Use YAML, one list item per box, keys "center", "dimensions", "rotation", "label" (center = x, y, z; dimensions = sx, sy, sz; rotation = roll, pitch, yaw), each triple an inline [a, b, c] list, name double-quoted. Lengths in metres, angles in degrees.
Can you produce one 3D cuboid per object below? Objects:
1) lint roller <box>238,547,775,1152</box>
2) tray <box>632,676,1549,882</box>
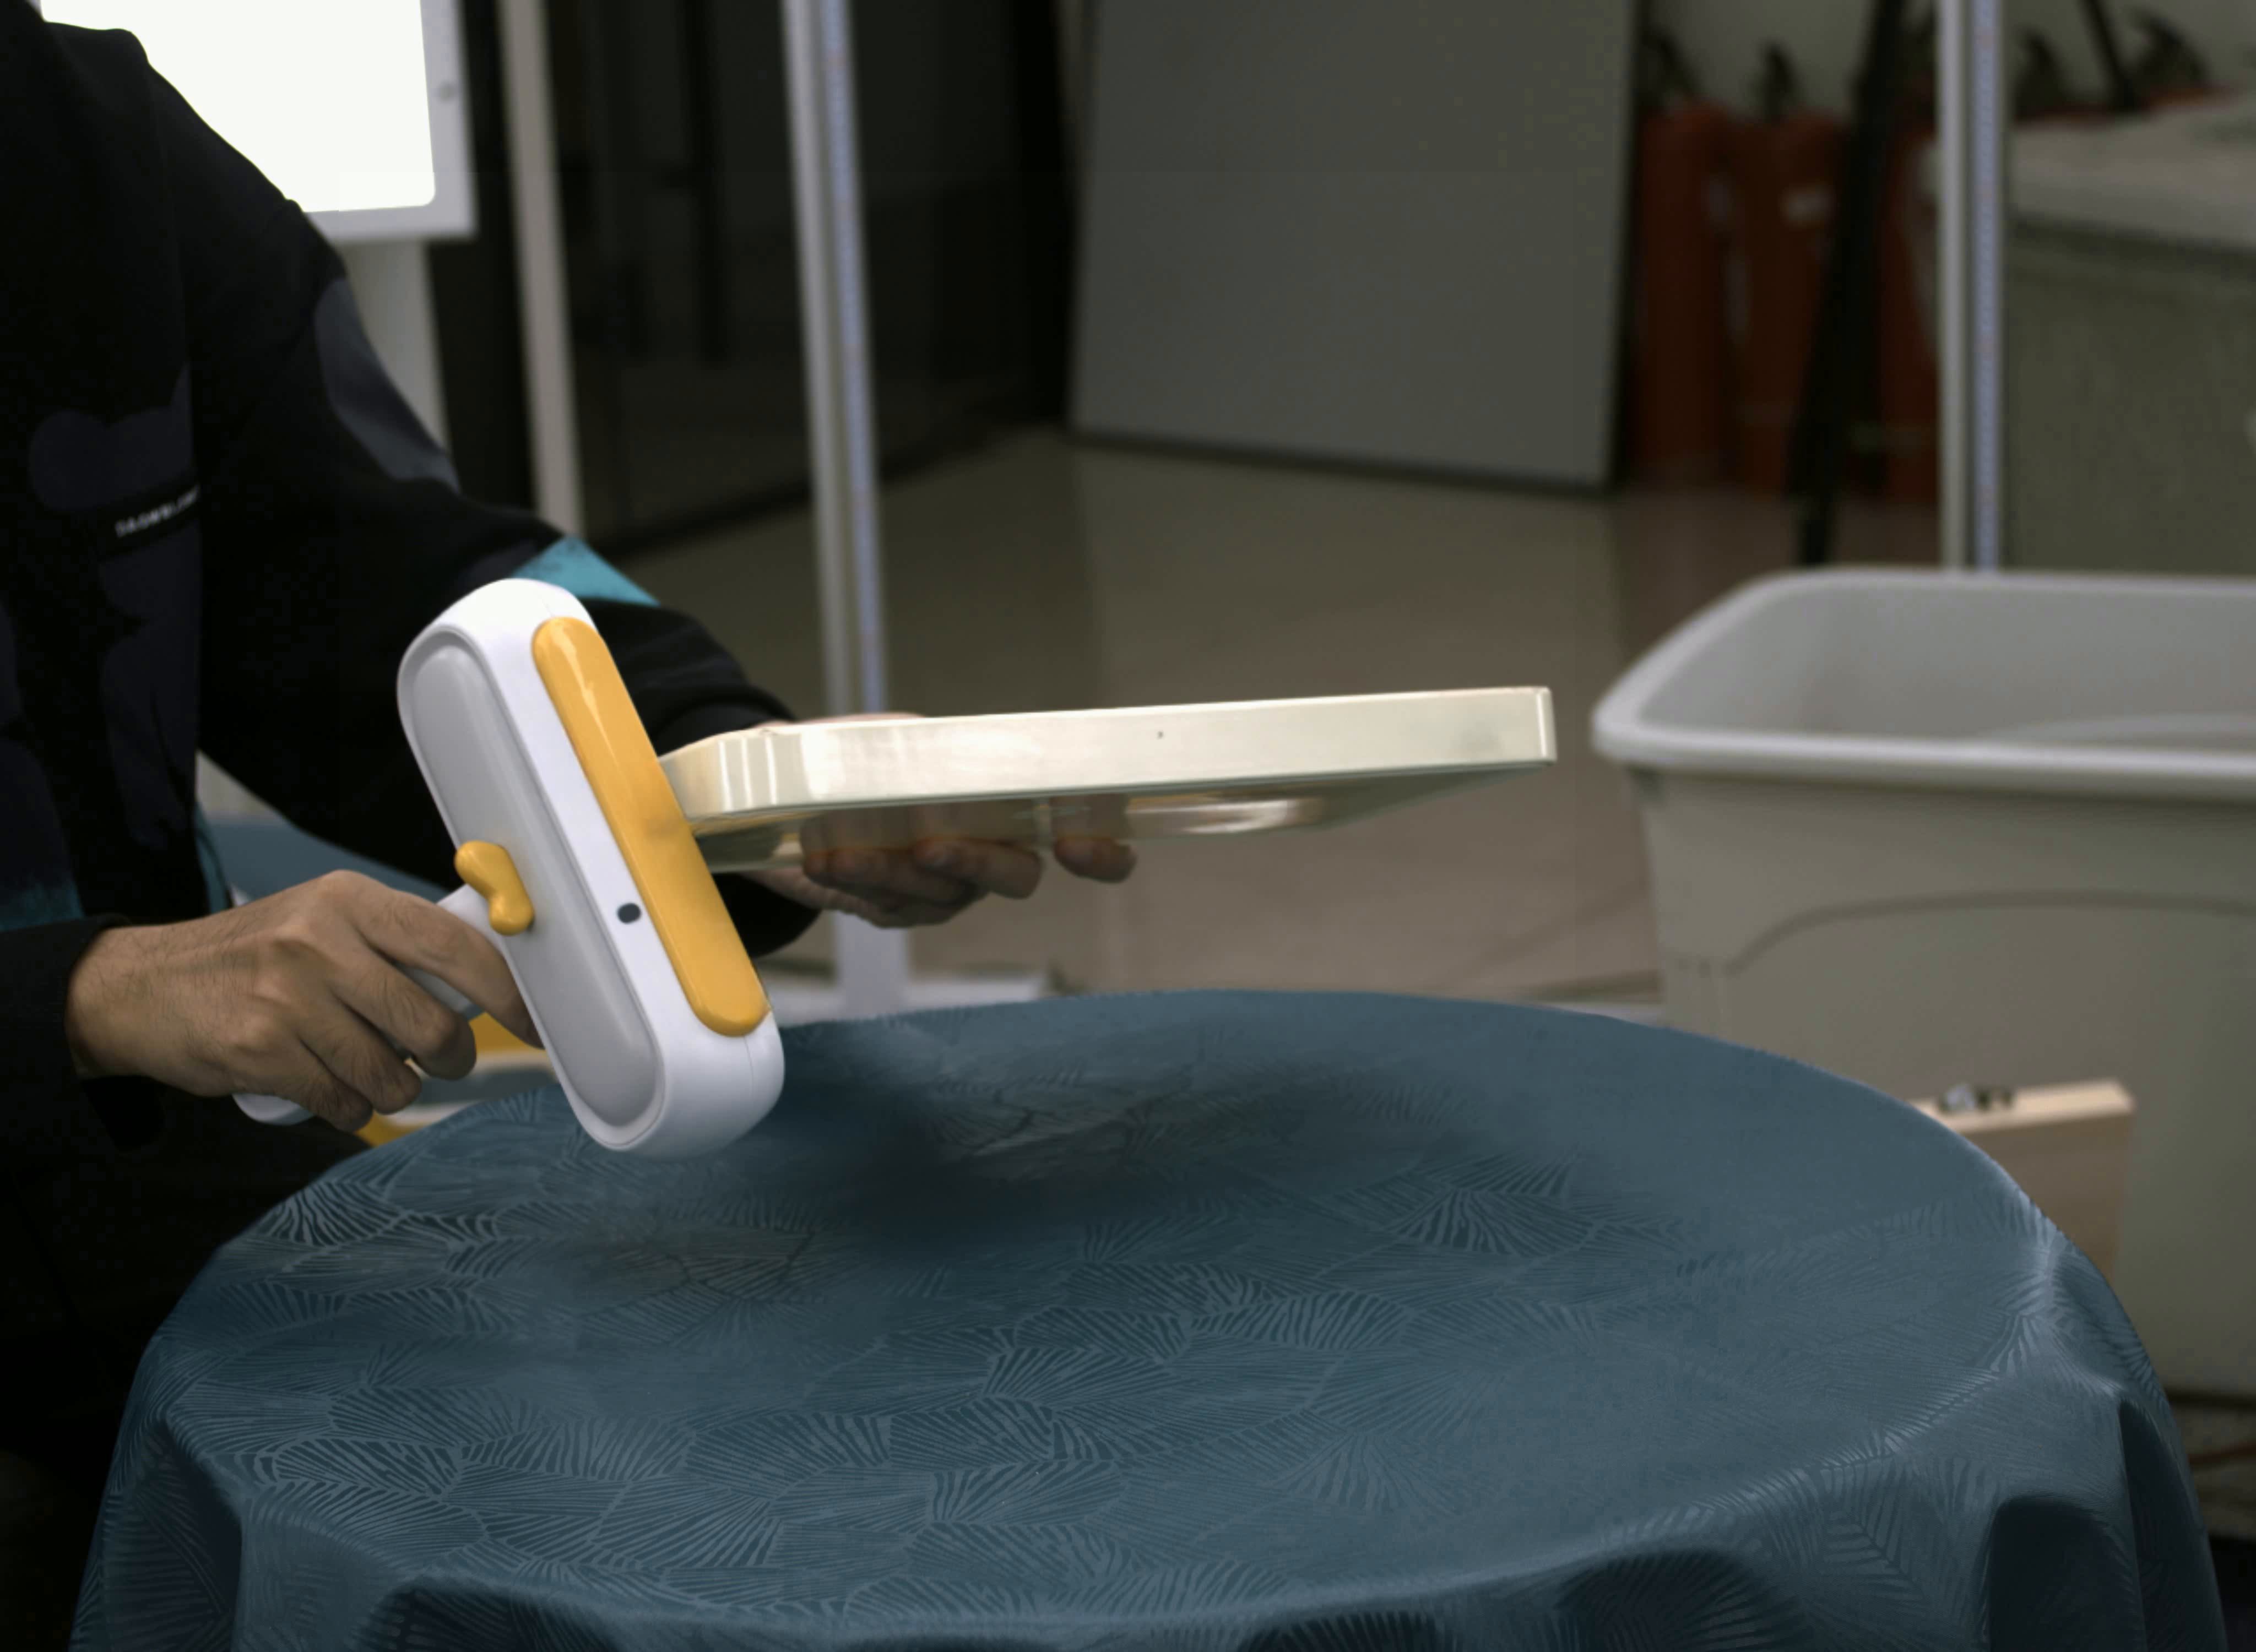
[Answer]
- center: [-0.210, 0.038, 1.705]
  dimensions: [0.073, 0.195, 0.194]
  rotation: [-16, -20, -49]
  label: "lint roller"
- center: [-0.028, -0.013, 1.778]
  dimensions: [0.293, 0.028, 0.193]
  rotation: [-3, -8, -24]
  label: "tray"
